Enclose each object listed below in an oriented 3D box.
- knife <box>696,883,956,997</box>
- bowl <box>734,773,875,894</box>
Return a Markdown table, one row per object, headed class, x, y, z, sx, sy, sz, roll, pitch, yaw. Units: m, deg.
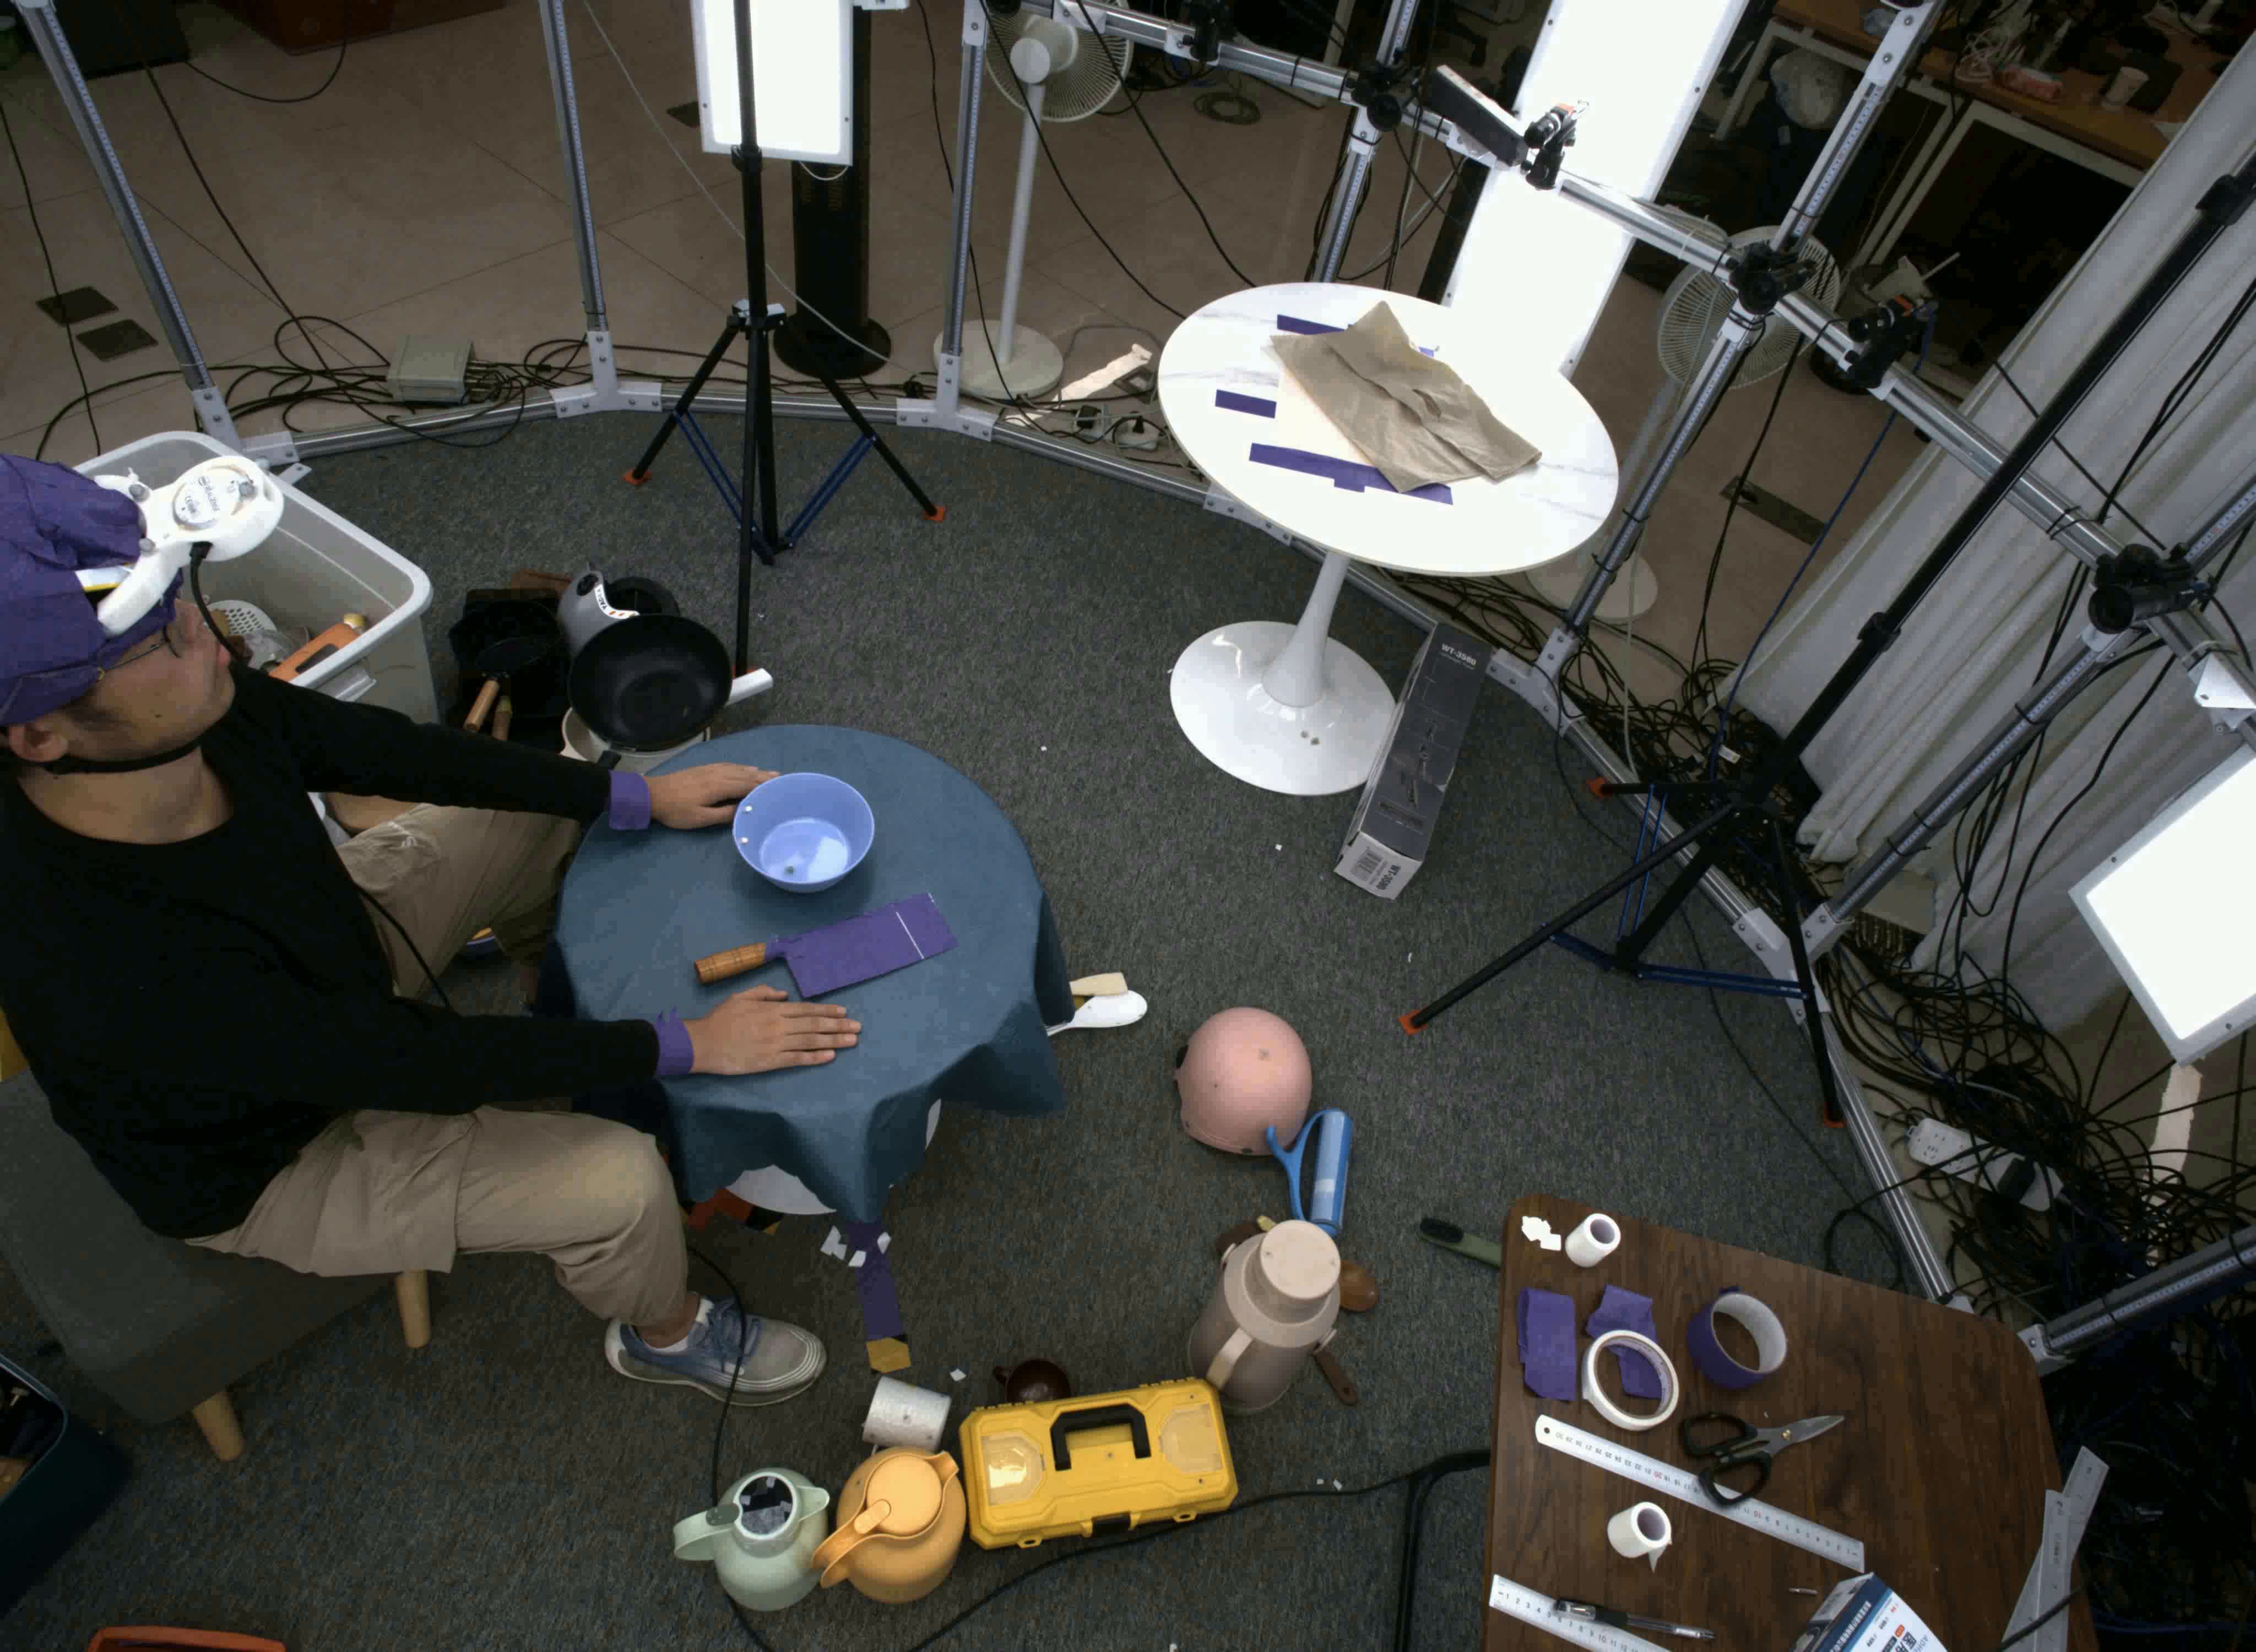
| class | x | y | z | sx | sy | sz | roll | pitch | yaw |
| --- | --- | --- | --- | --- | --- | --- | --- | --- | --- |
| knife | -0.366 | 0.155 | 1.603 | 0.317 | 0.033 | 0.101 | -20 | 61 | -28 |
| bowl | -0.414 | 0.019 | 1.664 | 0.175 | 0.072 | 0.173 | 7 | 52 | -8 |
